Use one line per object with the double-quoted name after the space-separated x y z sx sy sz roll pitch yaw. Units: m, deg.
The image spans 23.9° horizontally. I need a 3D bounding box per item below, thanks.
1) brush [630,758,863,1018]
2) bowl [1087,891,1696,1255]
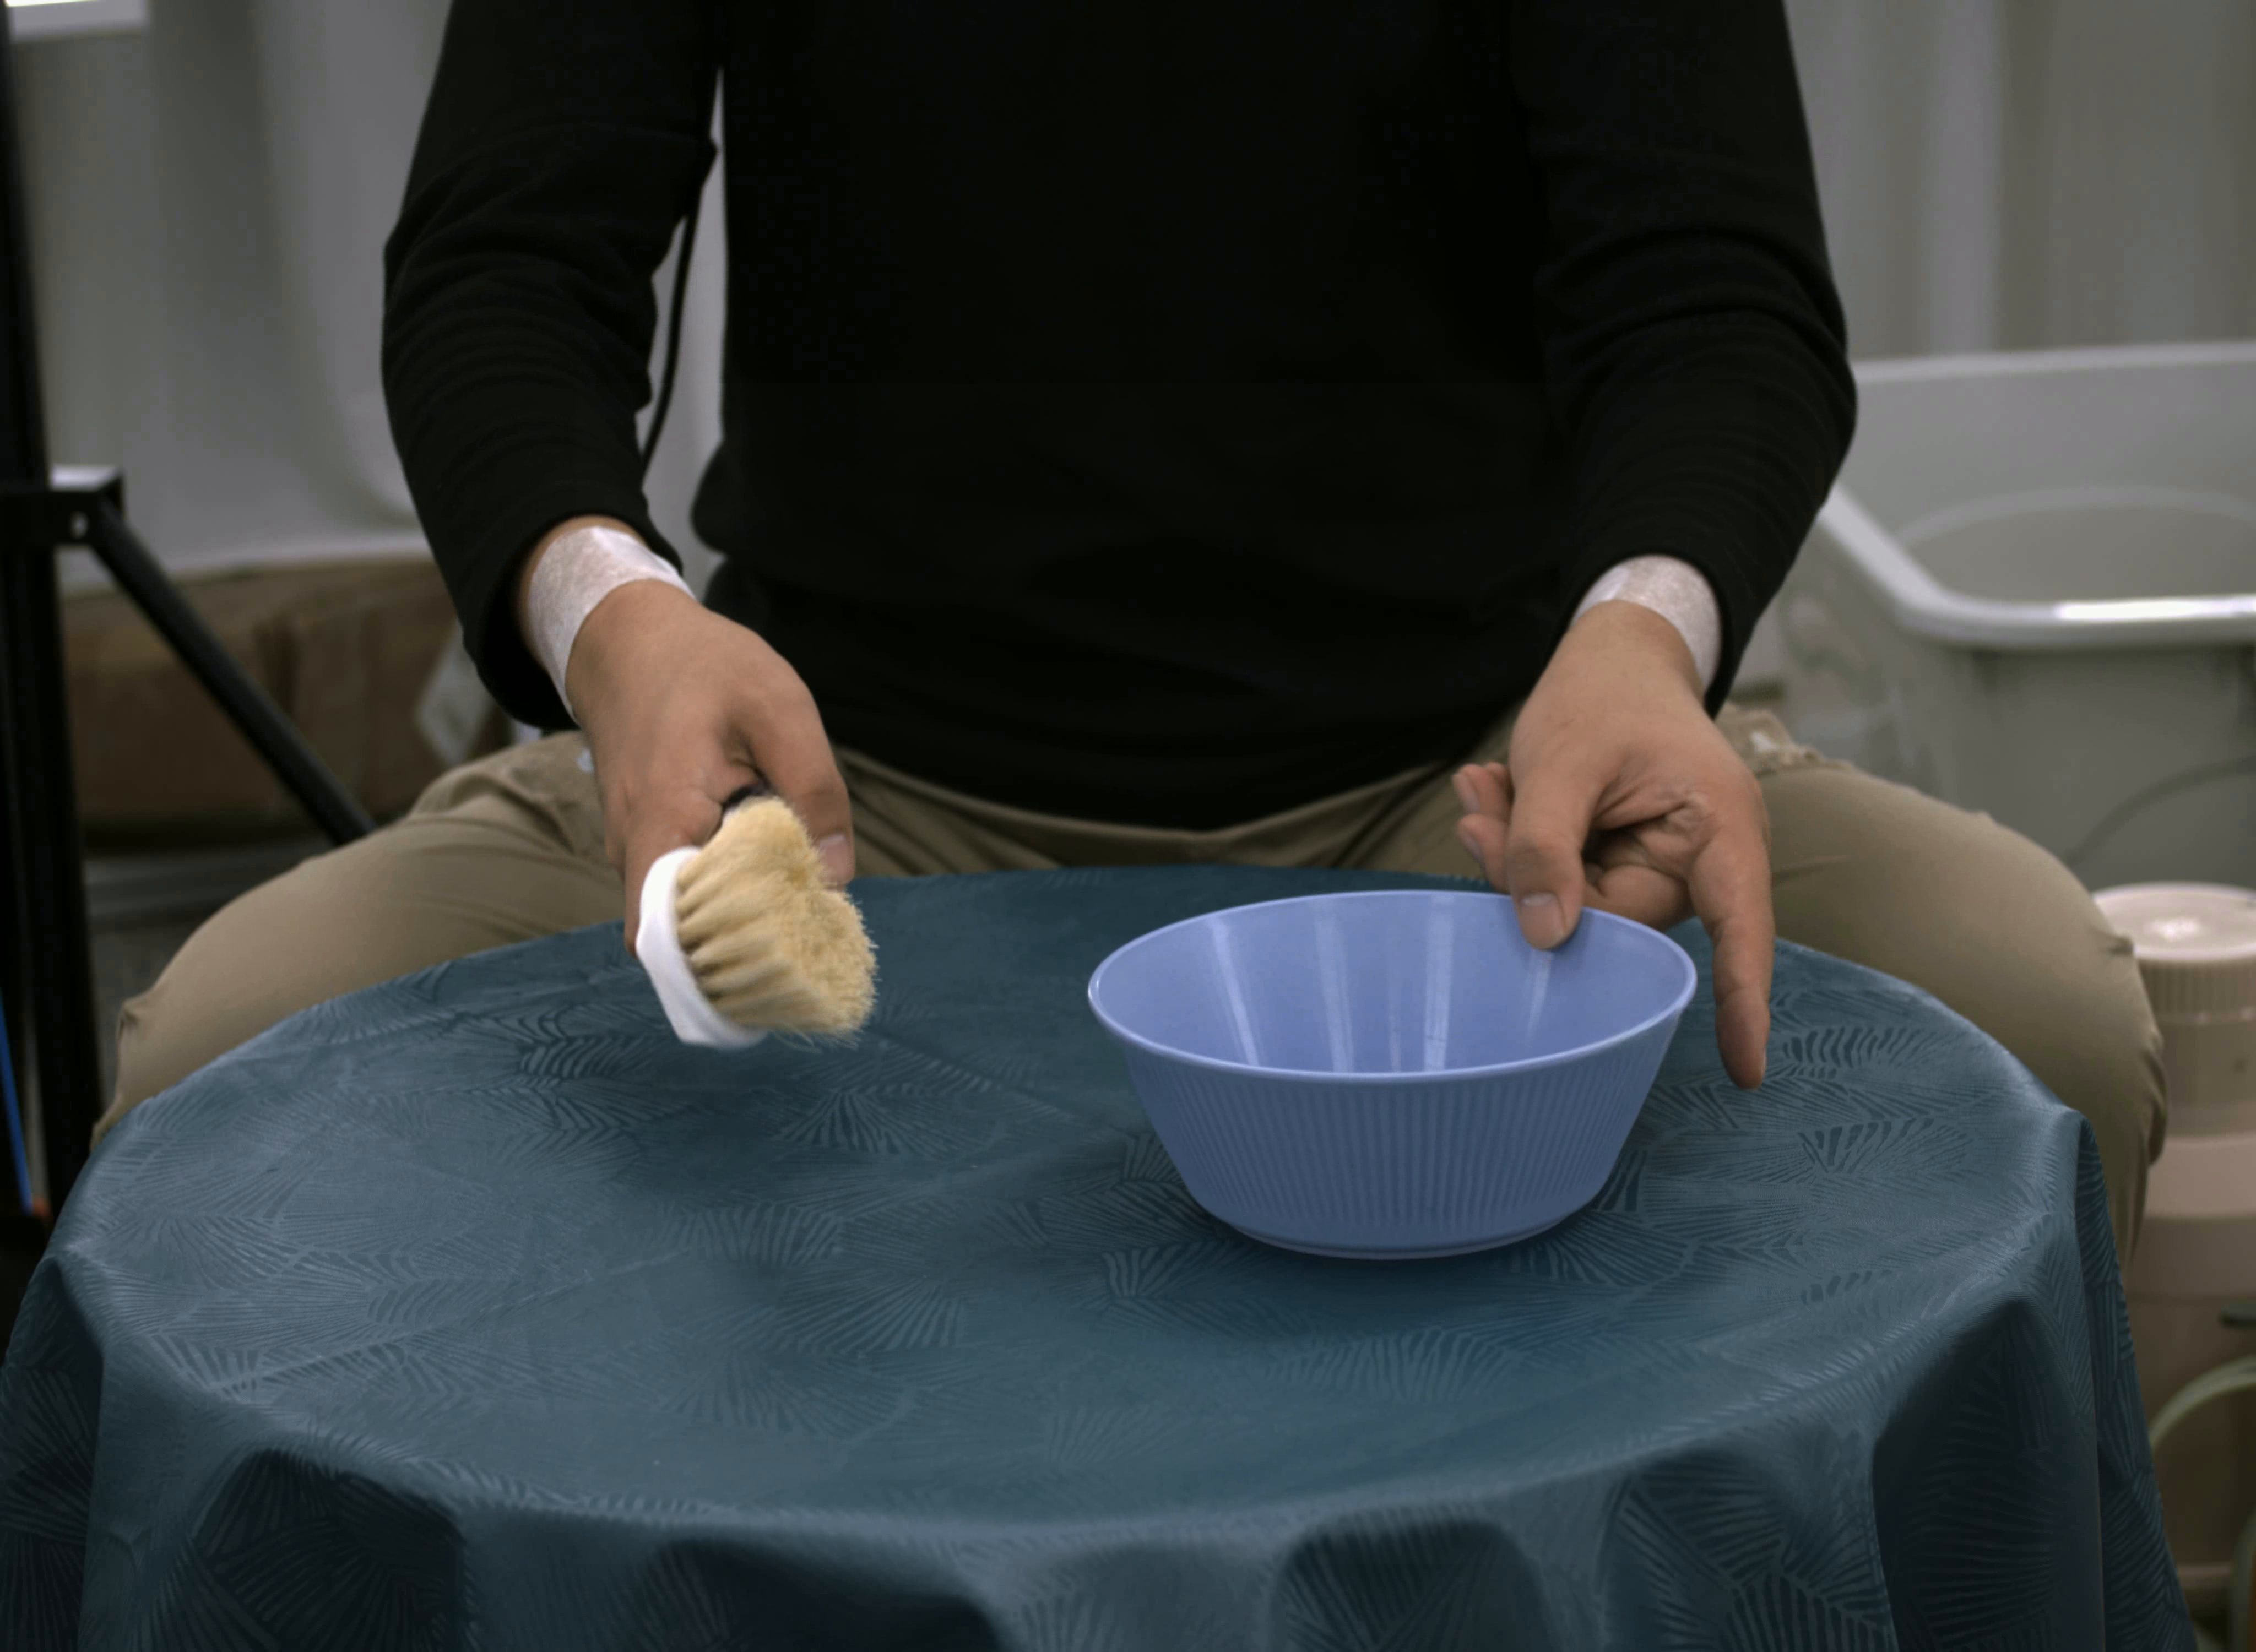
-0.107 0.005 1.596 0.056 0.068 0.267 -19 8 3 "brush"
0.076 0.074 1.533 0.175 0.070 0.177 -2 16 -1 "bowl"
